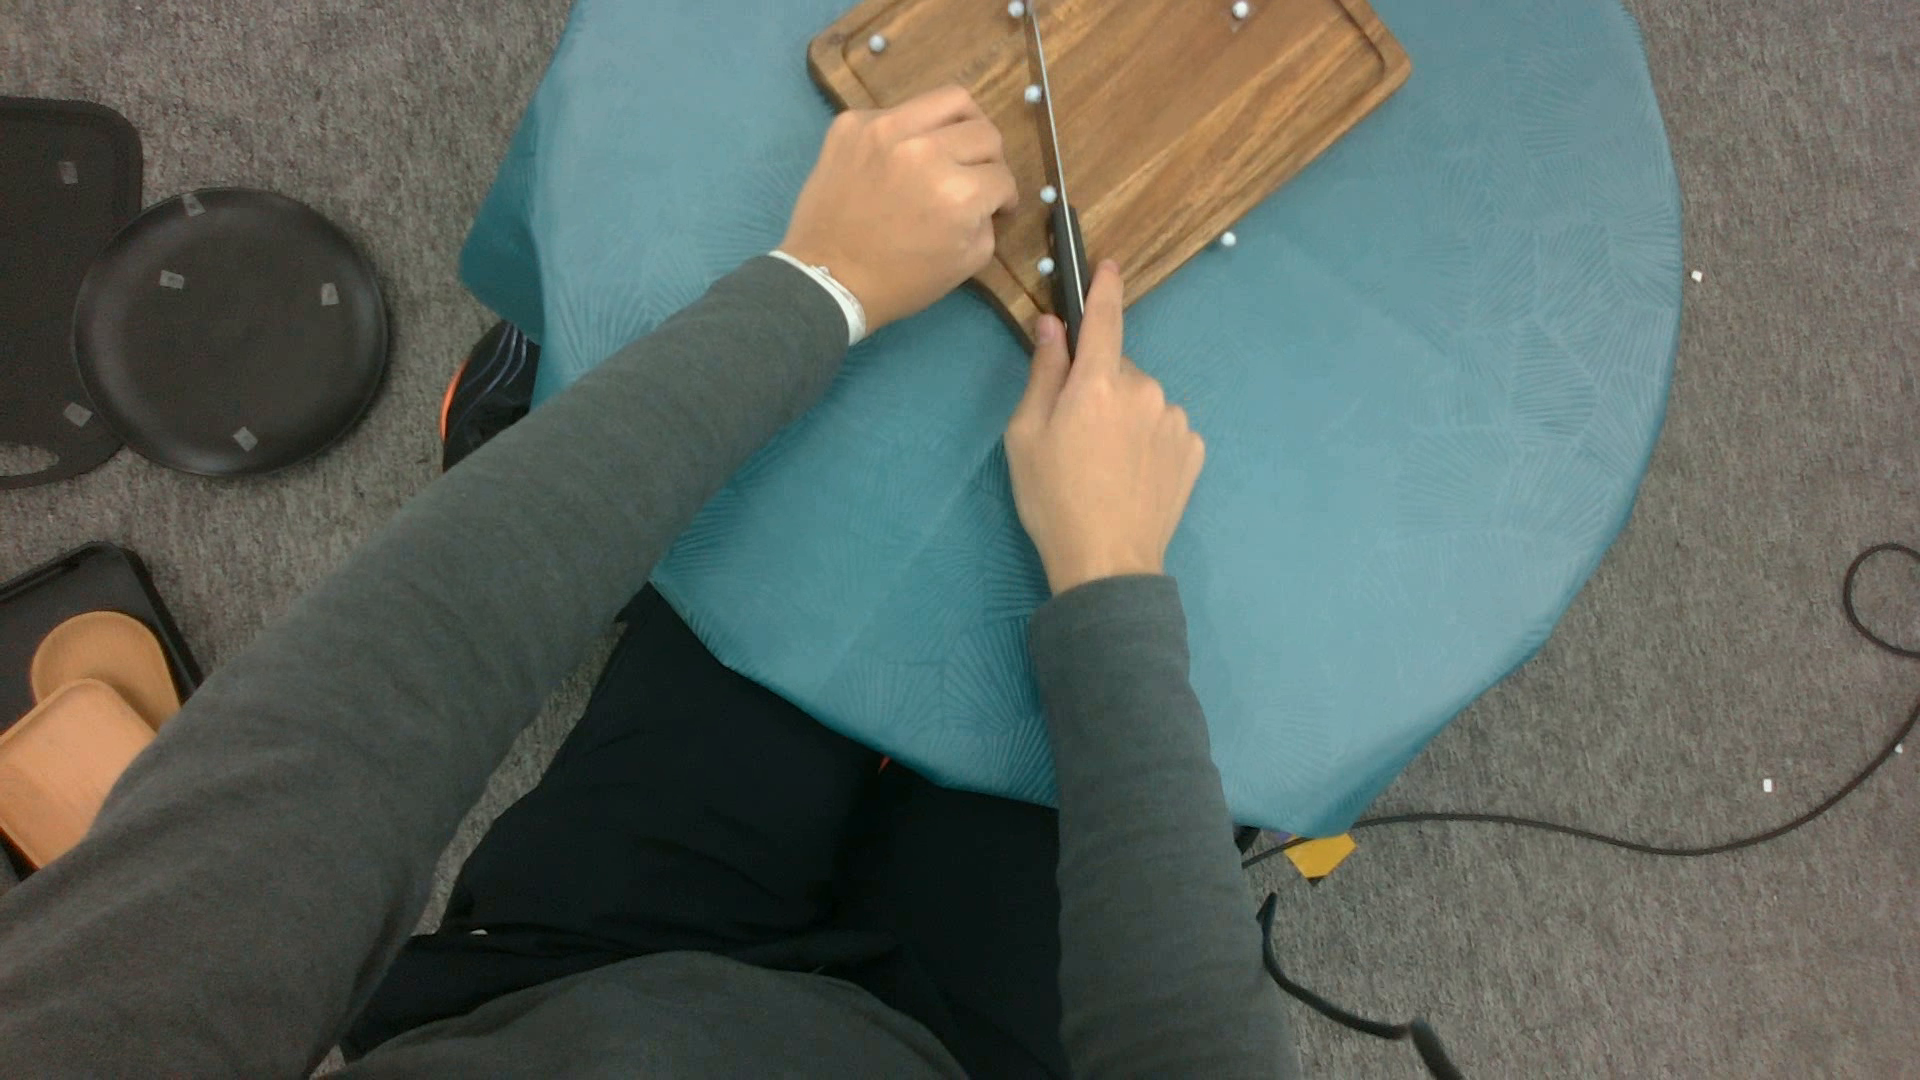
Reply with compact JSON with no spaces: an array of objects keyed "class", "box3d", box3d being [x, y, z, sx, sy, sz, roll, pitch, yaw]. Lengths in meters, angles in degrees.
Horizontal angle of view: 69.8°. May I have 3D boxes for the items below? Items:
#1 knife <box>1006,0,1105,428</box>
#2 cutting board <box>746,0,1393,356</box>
[{"class":"knife","box3d":[0.042,-0.171,0.665,0.016,0.024,0.238,-9,84,-11]},{"class":"cutting board","box3d":[0.033,-0.212,0.687,0.353,0.023,0.201,-40,92,-9]}]
